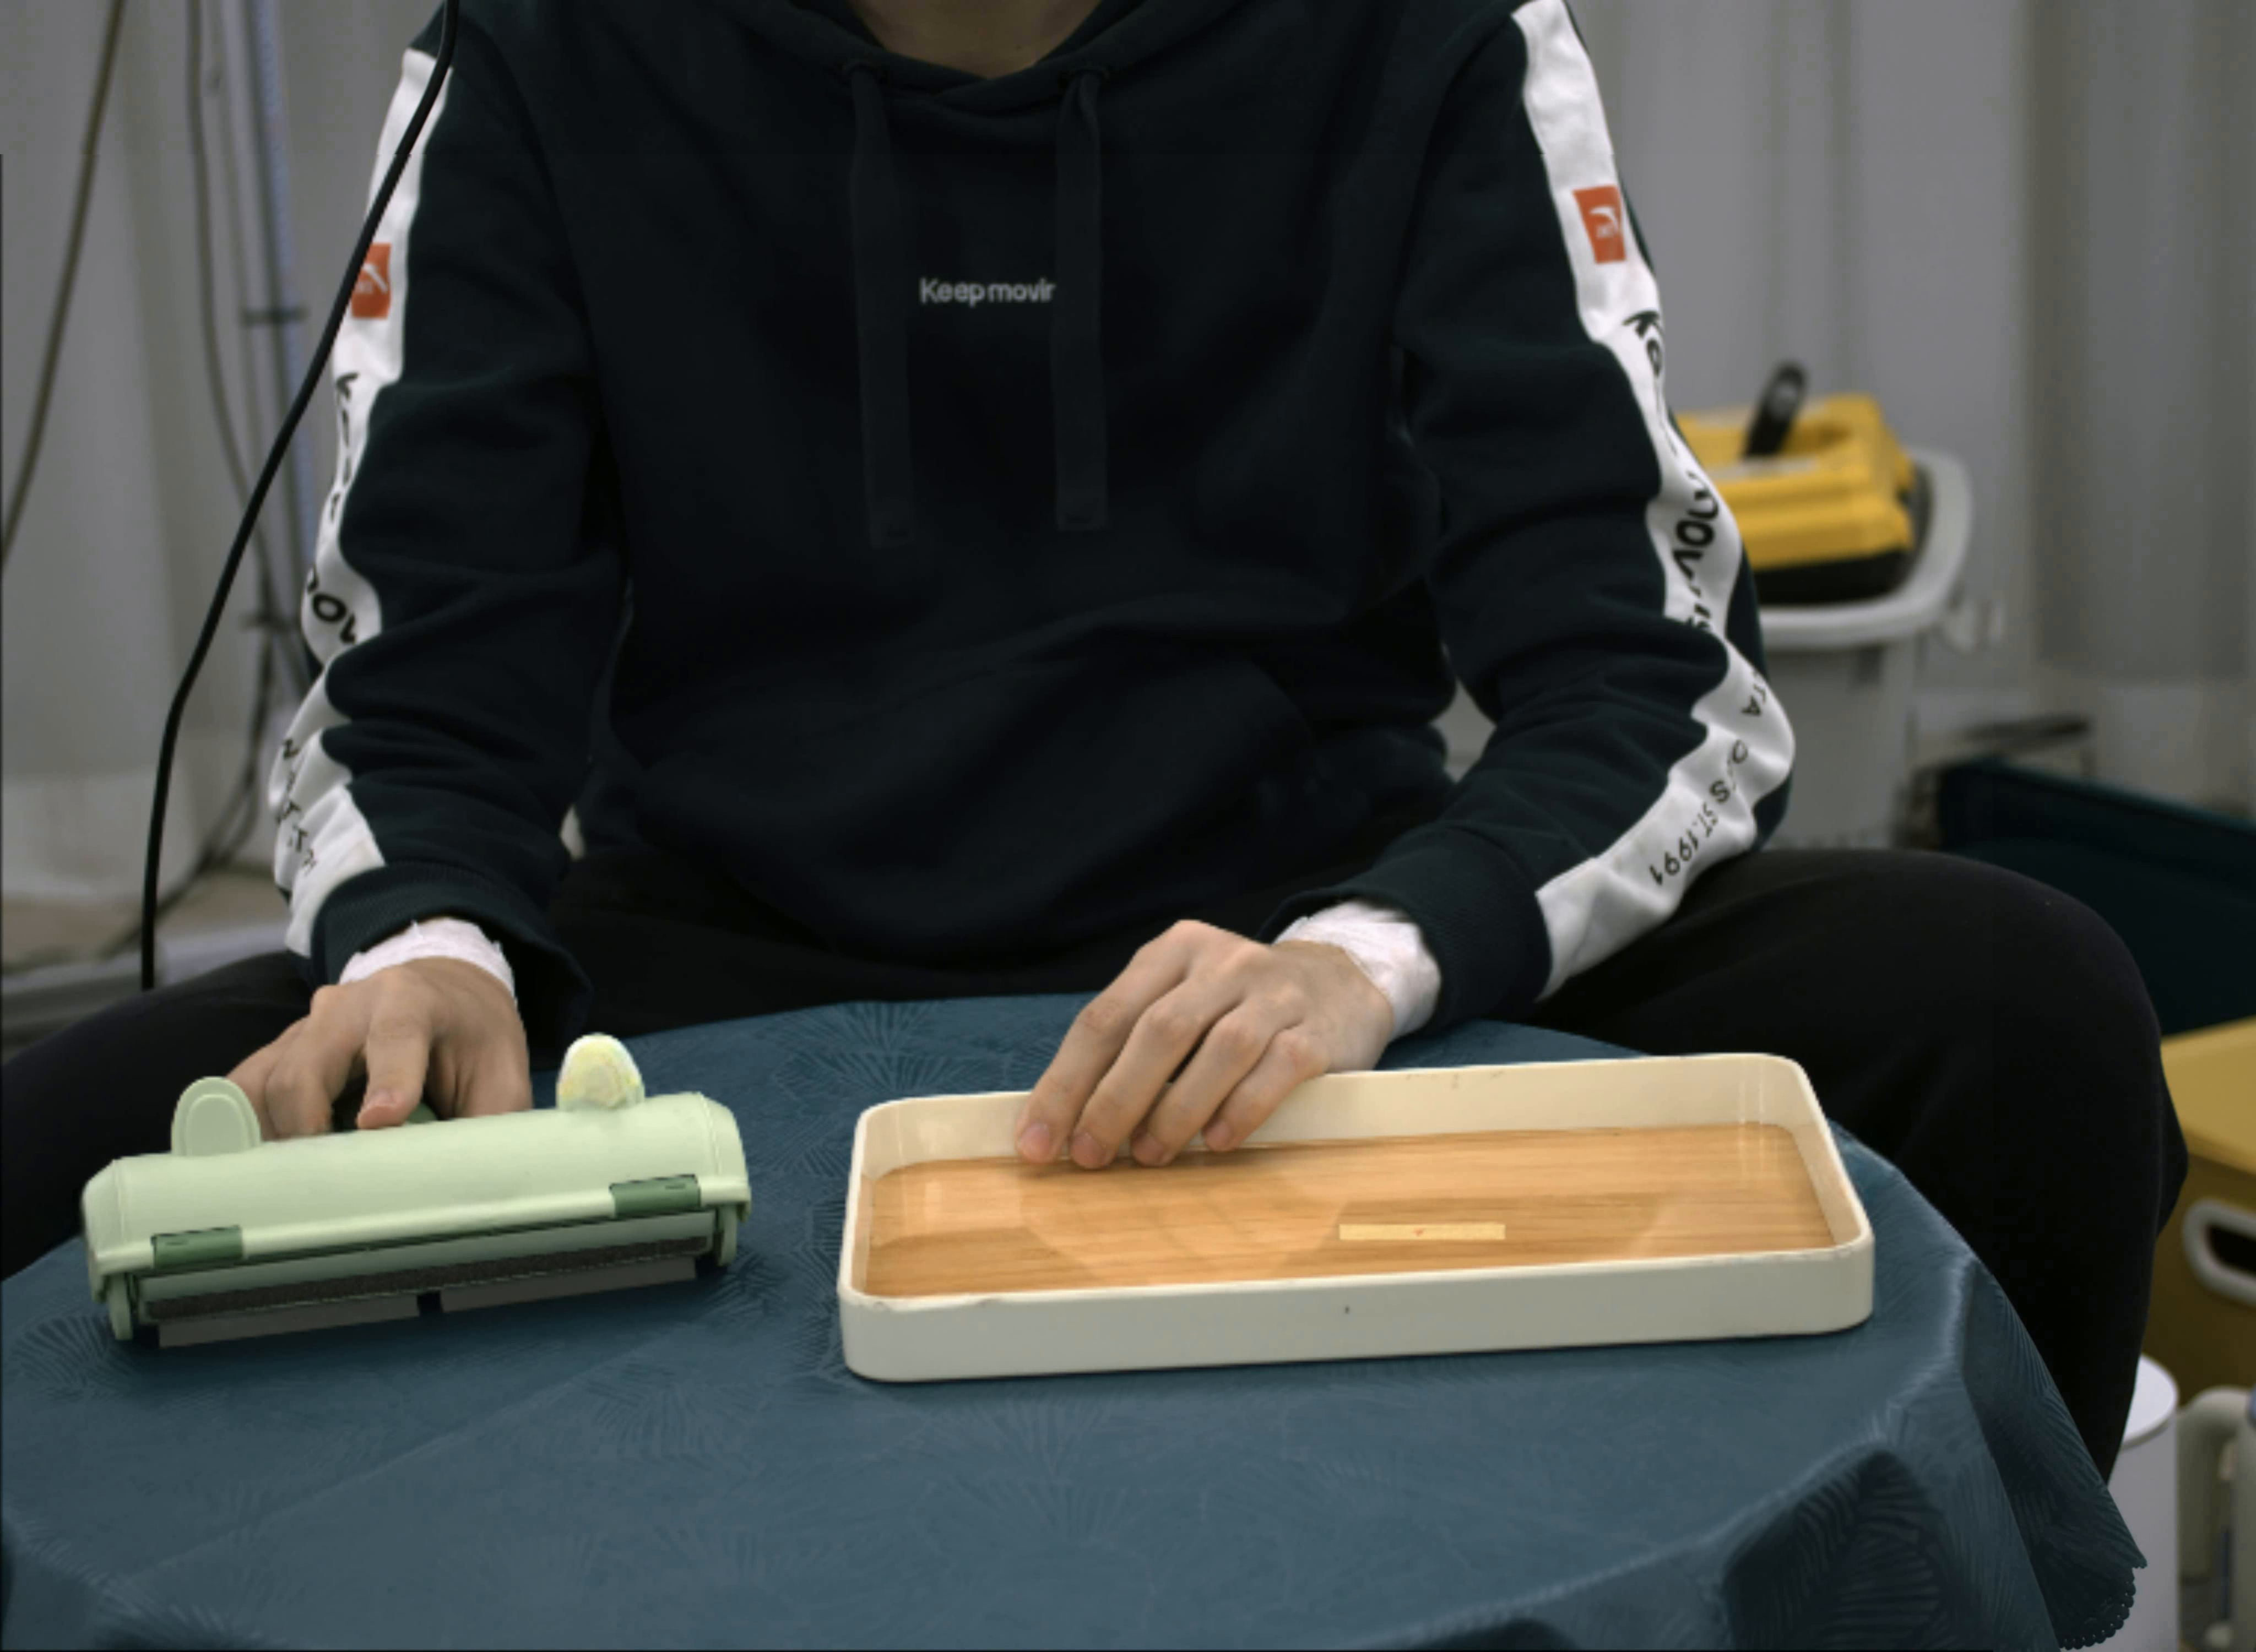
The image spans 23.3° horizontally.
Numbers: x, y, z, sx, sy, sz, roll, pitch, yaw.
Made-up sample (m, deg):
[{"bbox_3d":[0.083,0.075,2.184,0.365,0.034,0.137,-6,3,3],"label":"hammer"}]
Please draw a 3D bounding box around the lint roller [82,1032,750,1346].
[{"bbox_3d":[-0.226,0.094,1.691,0.198,0.082,0.185,-7,19,-12],"label":"lint roller"}]

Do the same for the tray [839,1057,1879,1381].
[{"bbox_3d":[0.065,0.117,1.643,0.299,0.027,0.193,-3,14,0],"label":"tray"}]
